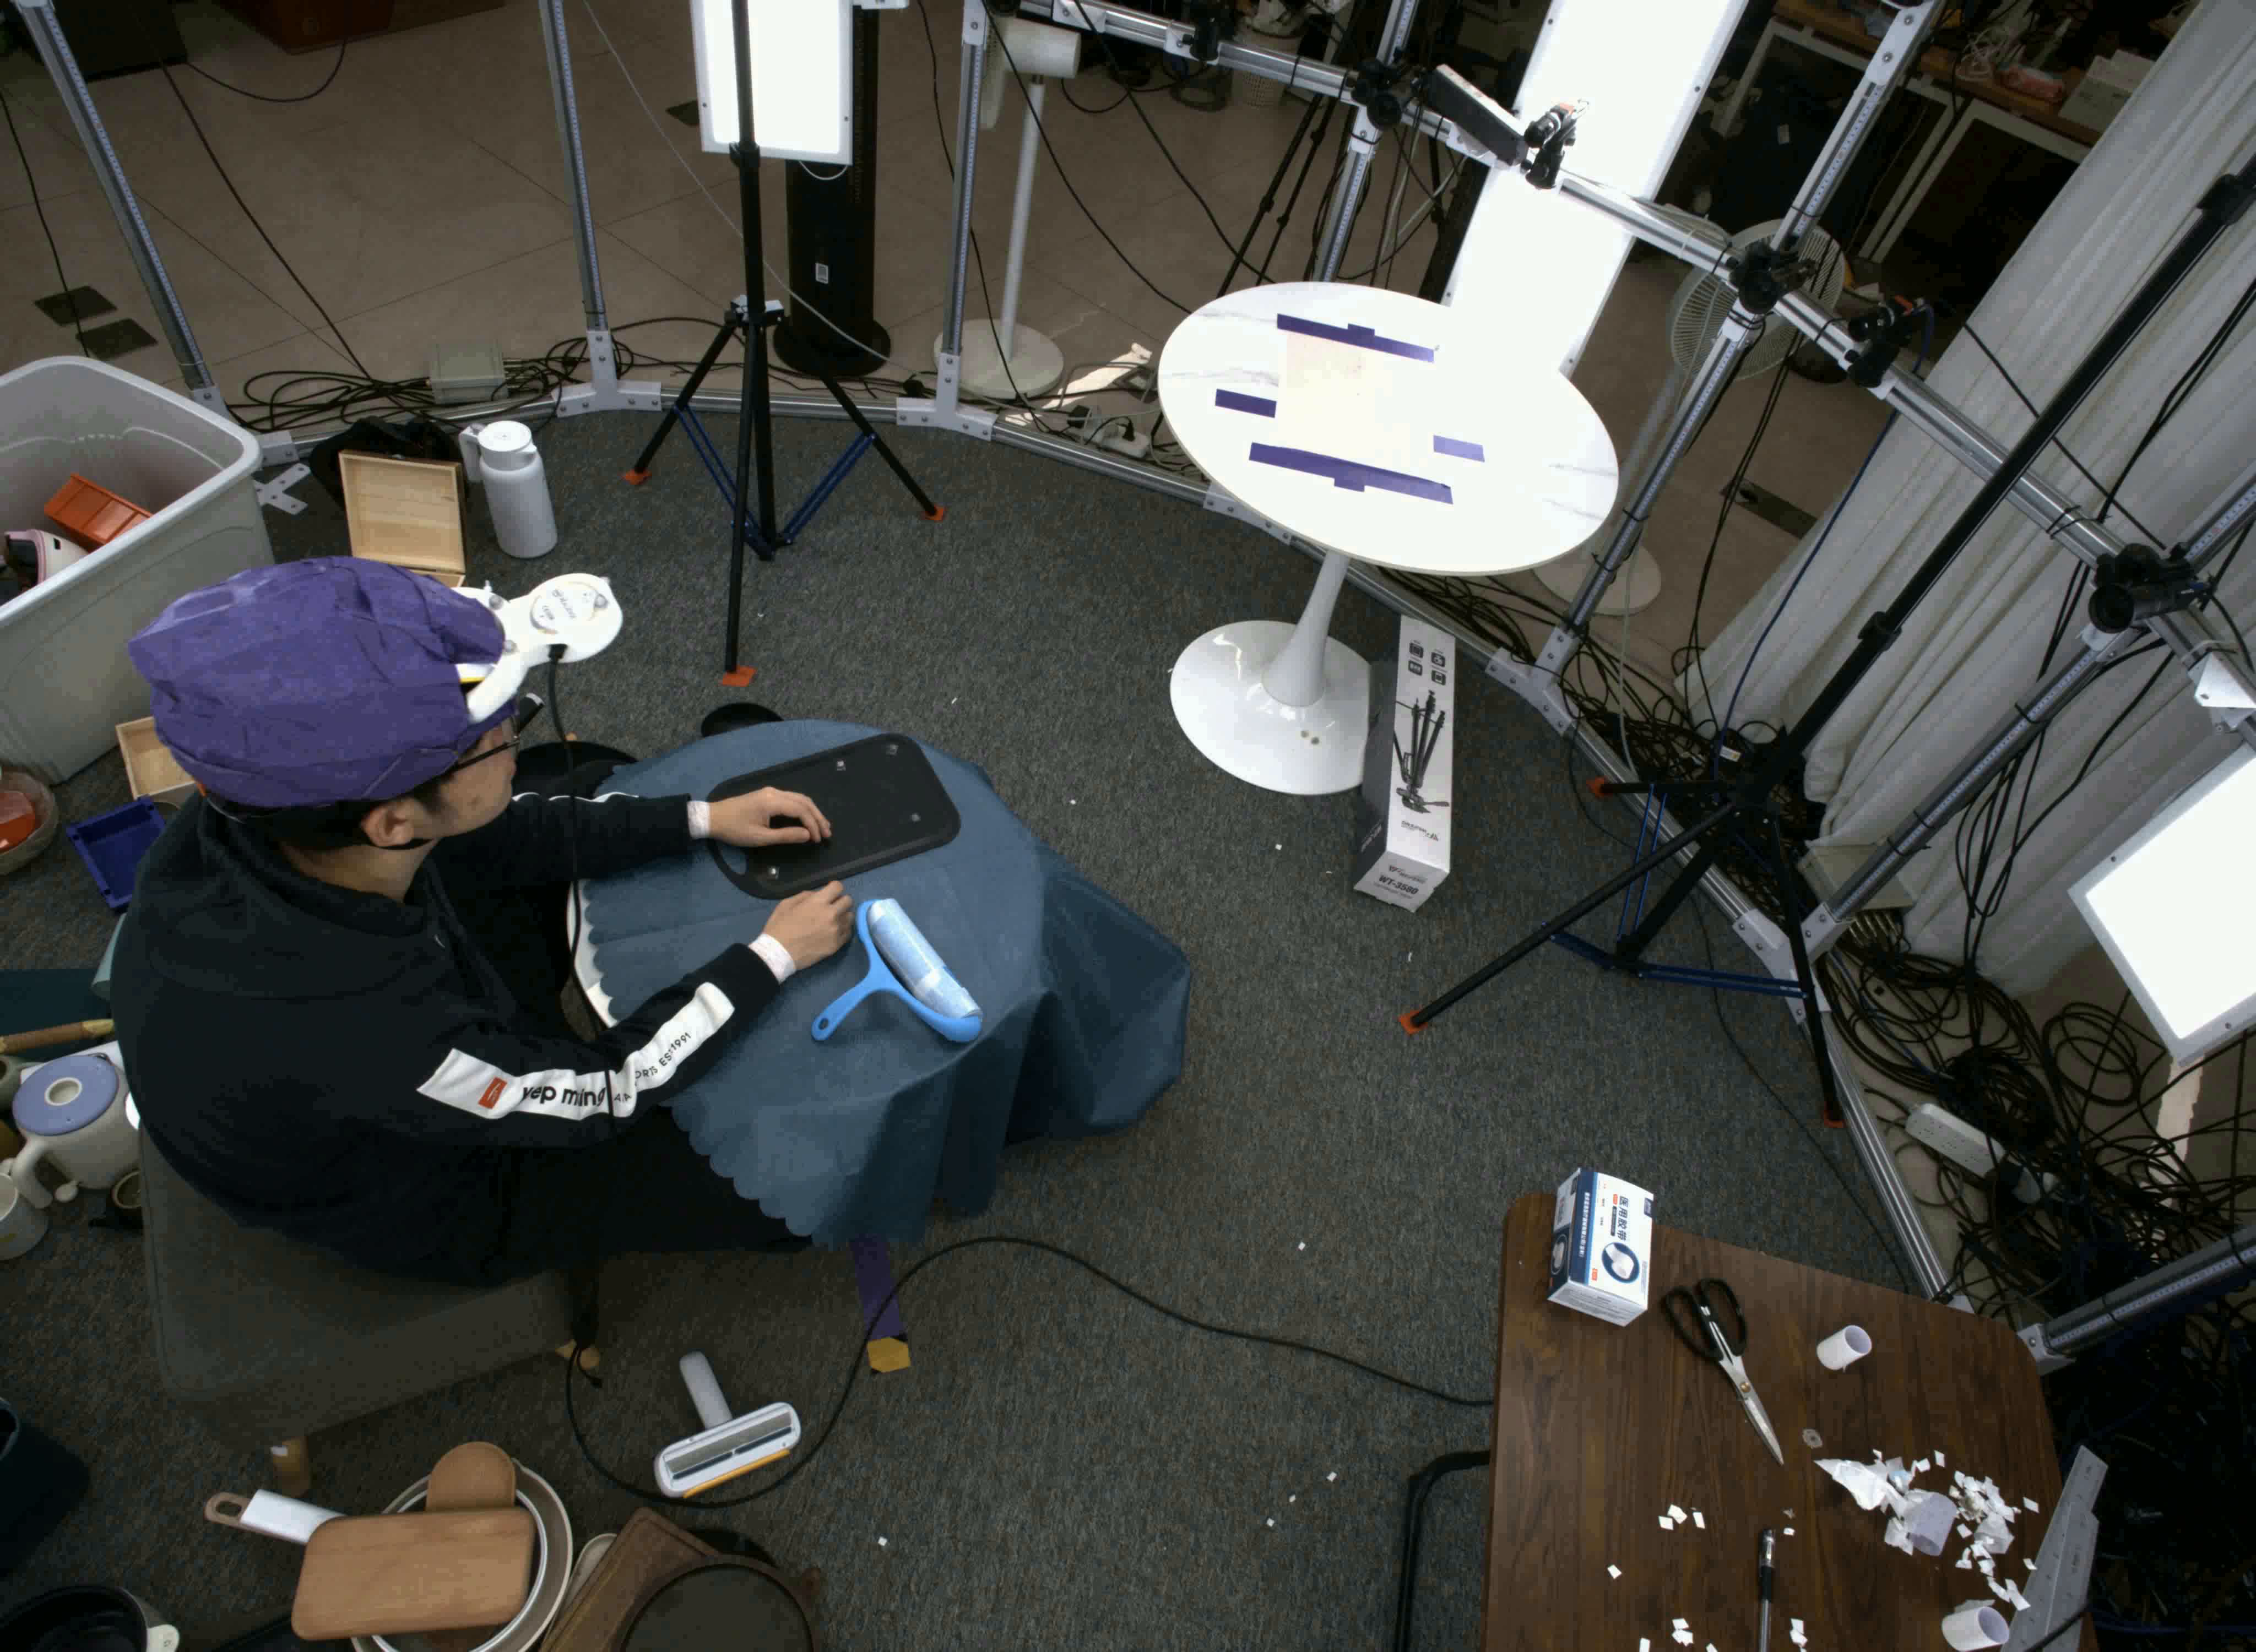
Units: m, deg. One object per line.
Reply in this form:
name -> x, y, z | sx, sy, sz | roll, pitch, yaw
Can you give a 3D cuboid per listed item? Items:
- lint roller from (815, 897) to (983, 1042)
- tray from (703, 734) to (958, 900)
lint roller -> -0.300, 0.198, 1.580 | 0.181, 0.069, 0.224 | -32, 69, -33
tray -> -0.404, -0.017, 1.744 | 0.327, 0.010, 0.206 | -19, 61, -26
